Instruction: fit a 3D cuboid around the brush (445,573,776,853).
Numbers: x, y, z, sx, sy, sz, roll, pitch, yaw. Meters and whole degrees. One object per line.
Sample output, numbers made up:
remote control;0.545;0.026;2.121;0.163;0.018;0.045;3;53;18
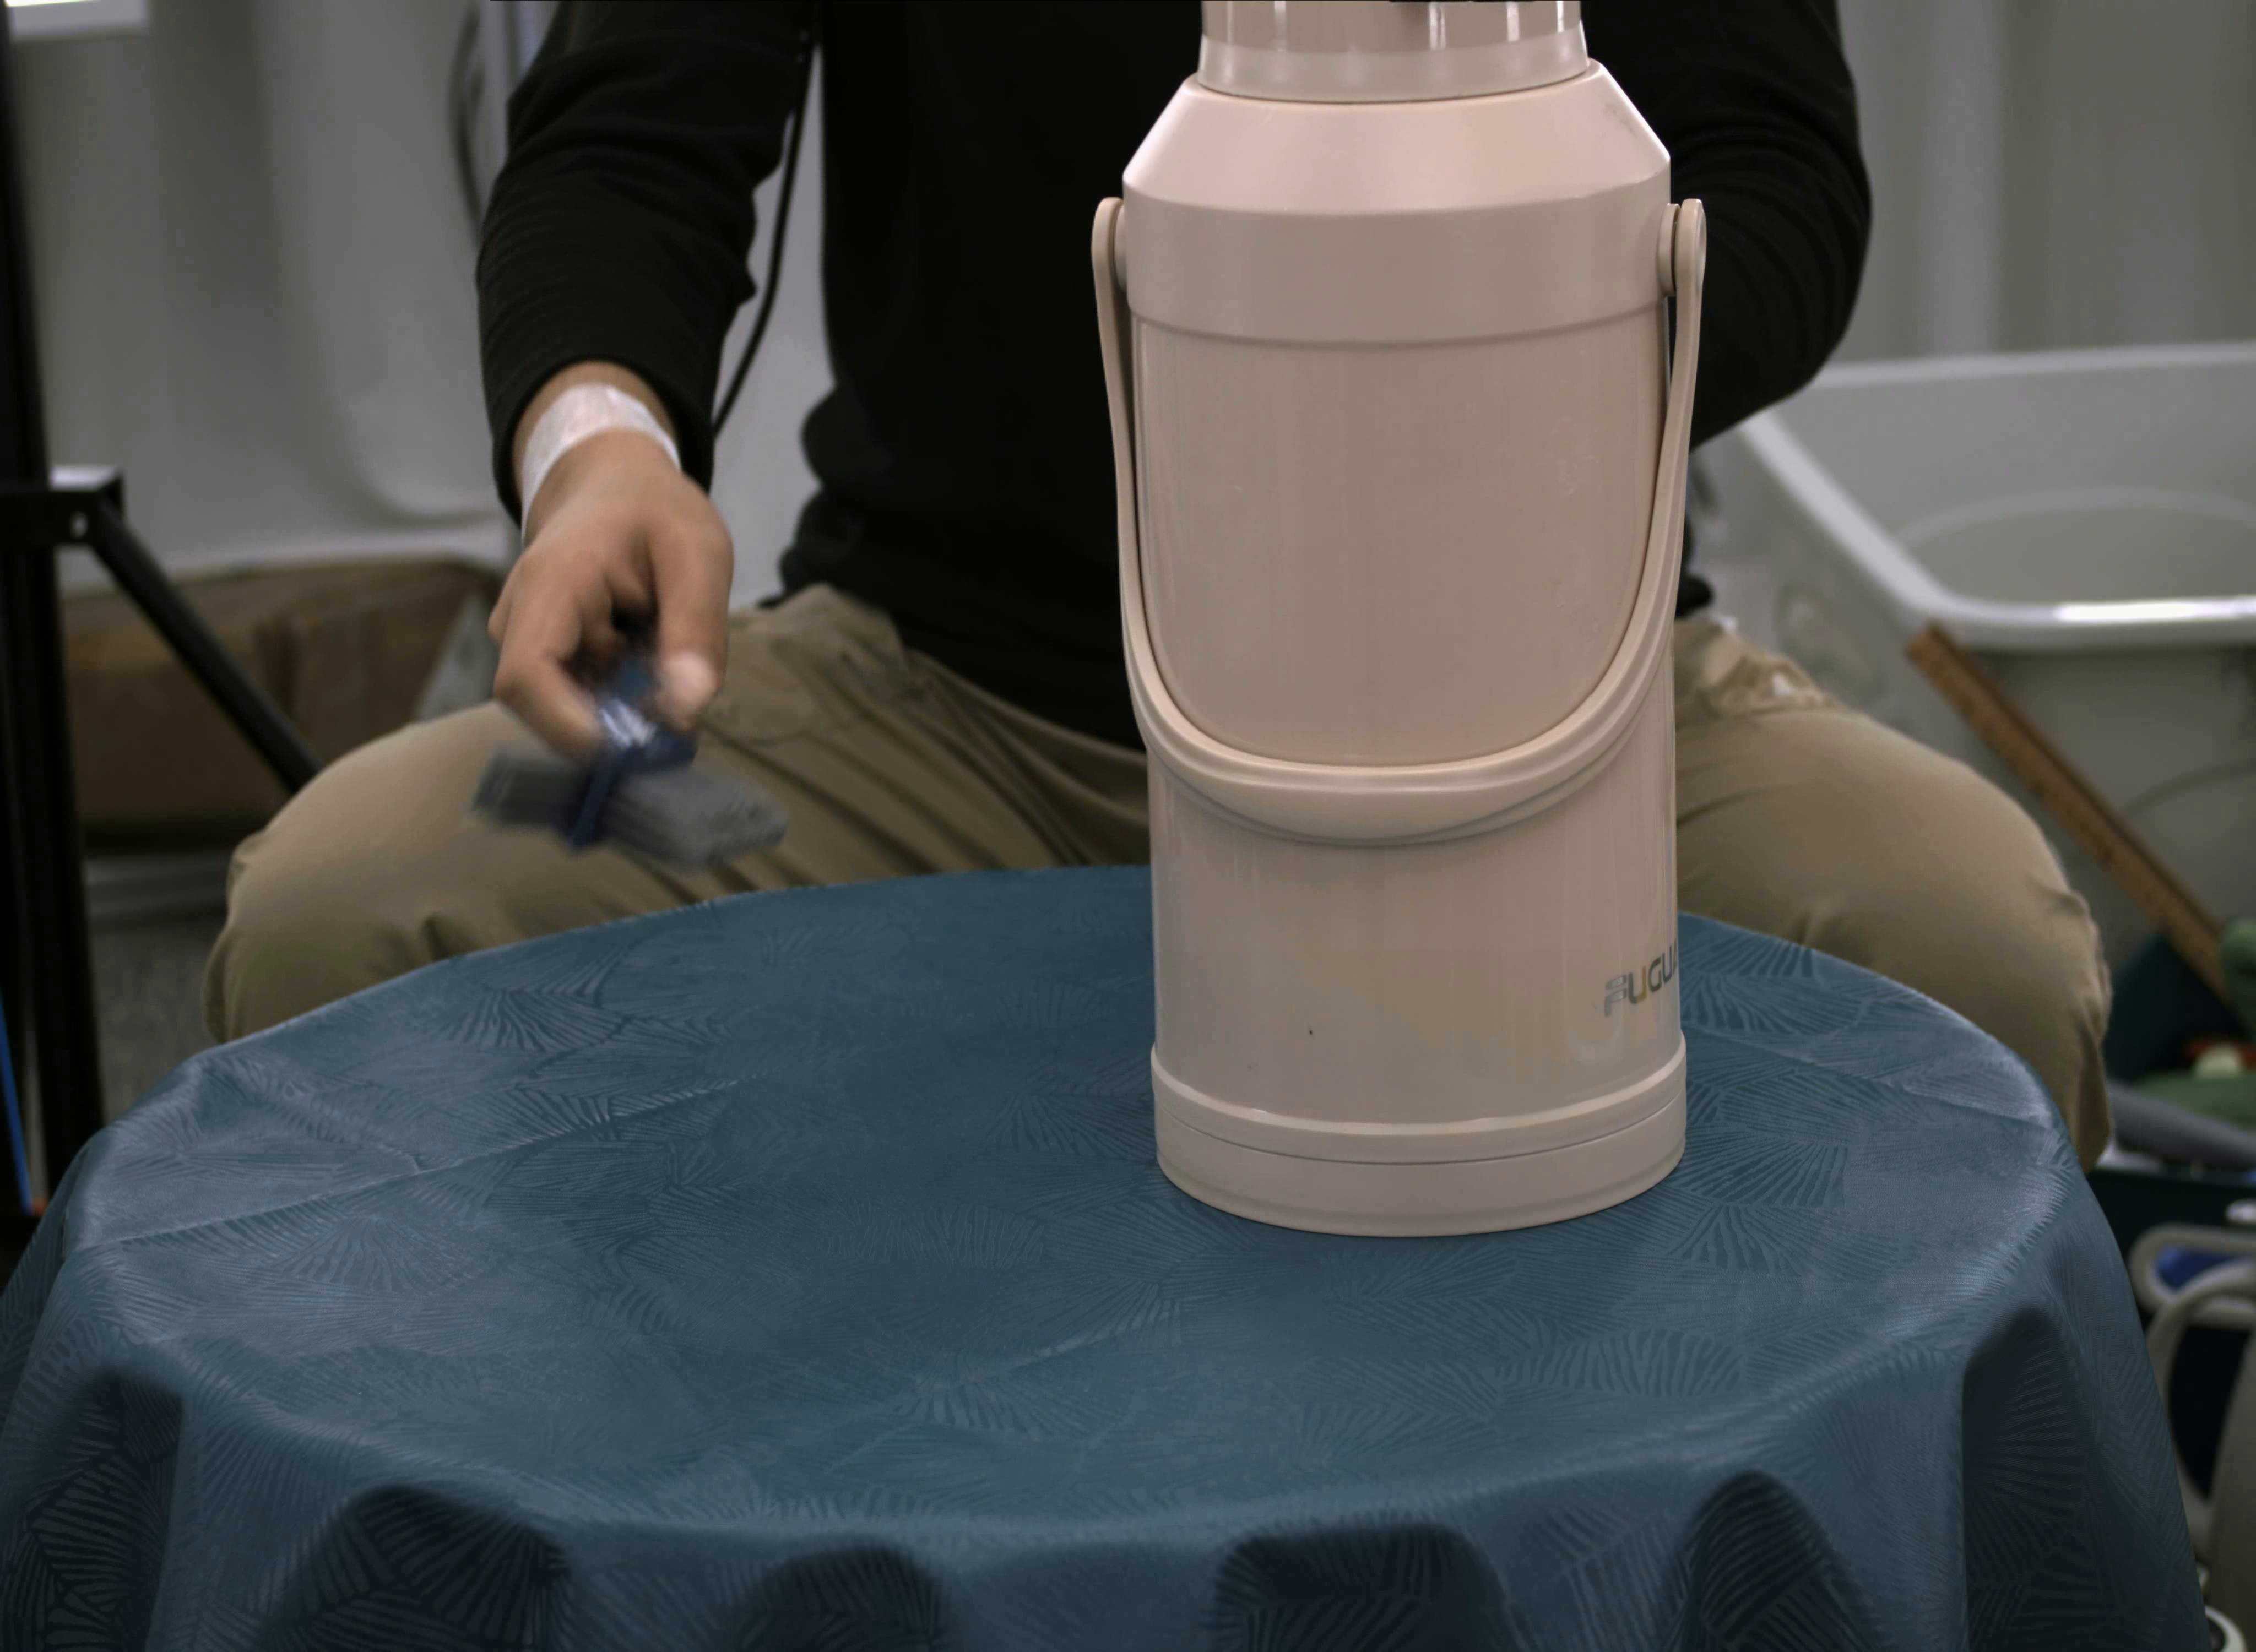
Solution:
brush;-0.152;-0.039;1.555;0.094;0.033;0.276;18;12;-12

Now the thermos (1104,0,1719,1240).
thermos;0.088;-0.098;1.545;0.176;0.406;0.205;0;15;15
